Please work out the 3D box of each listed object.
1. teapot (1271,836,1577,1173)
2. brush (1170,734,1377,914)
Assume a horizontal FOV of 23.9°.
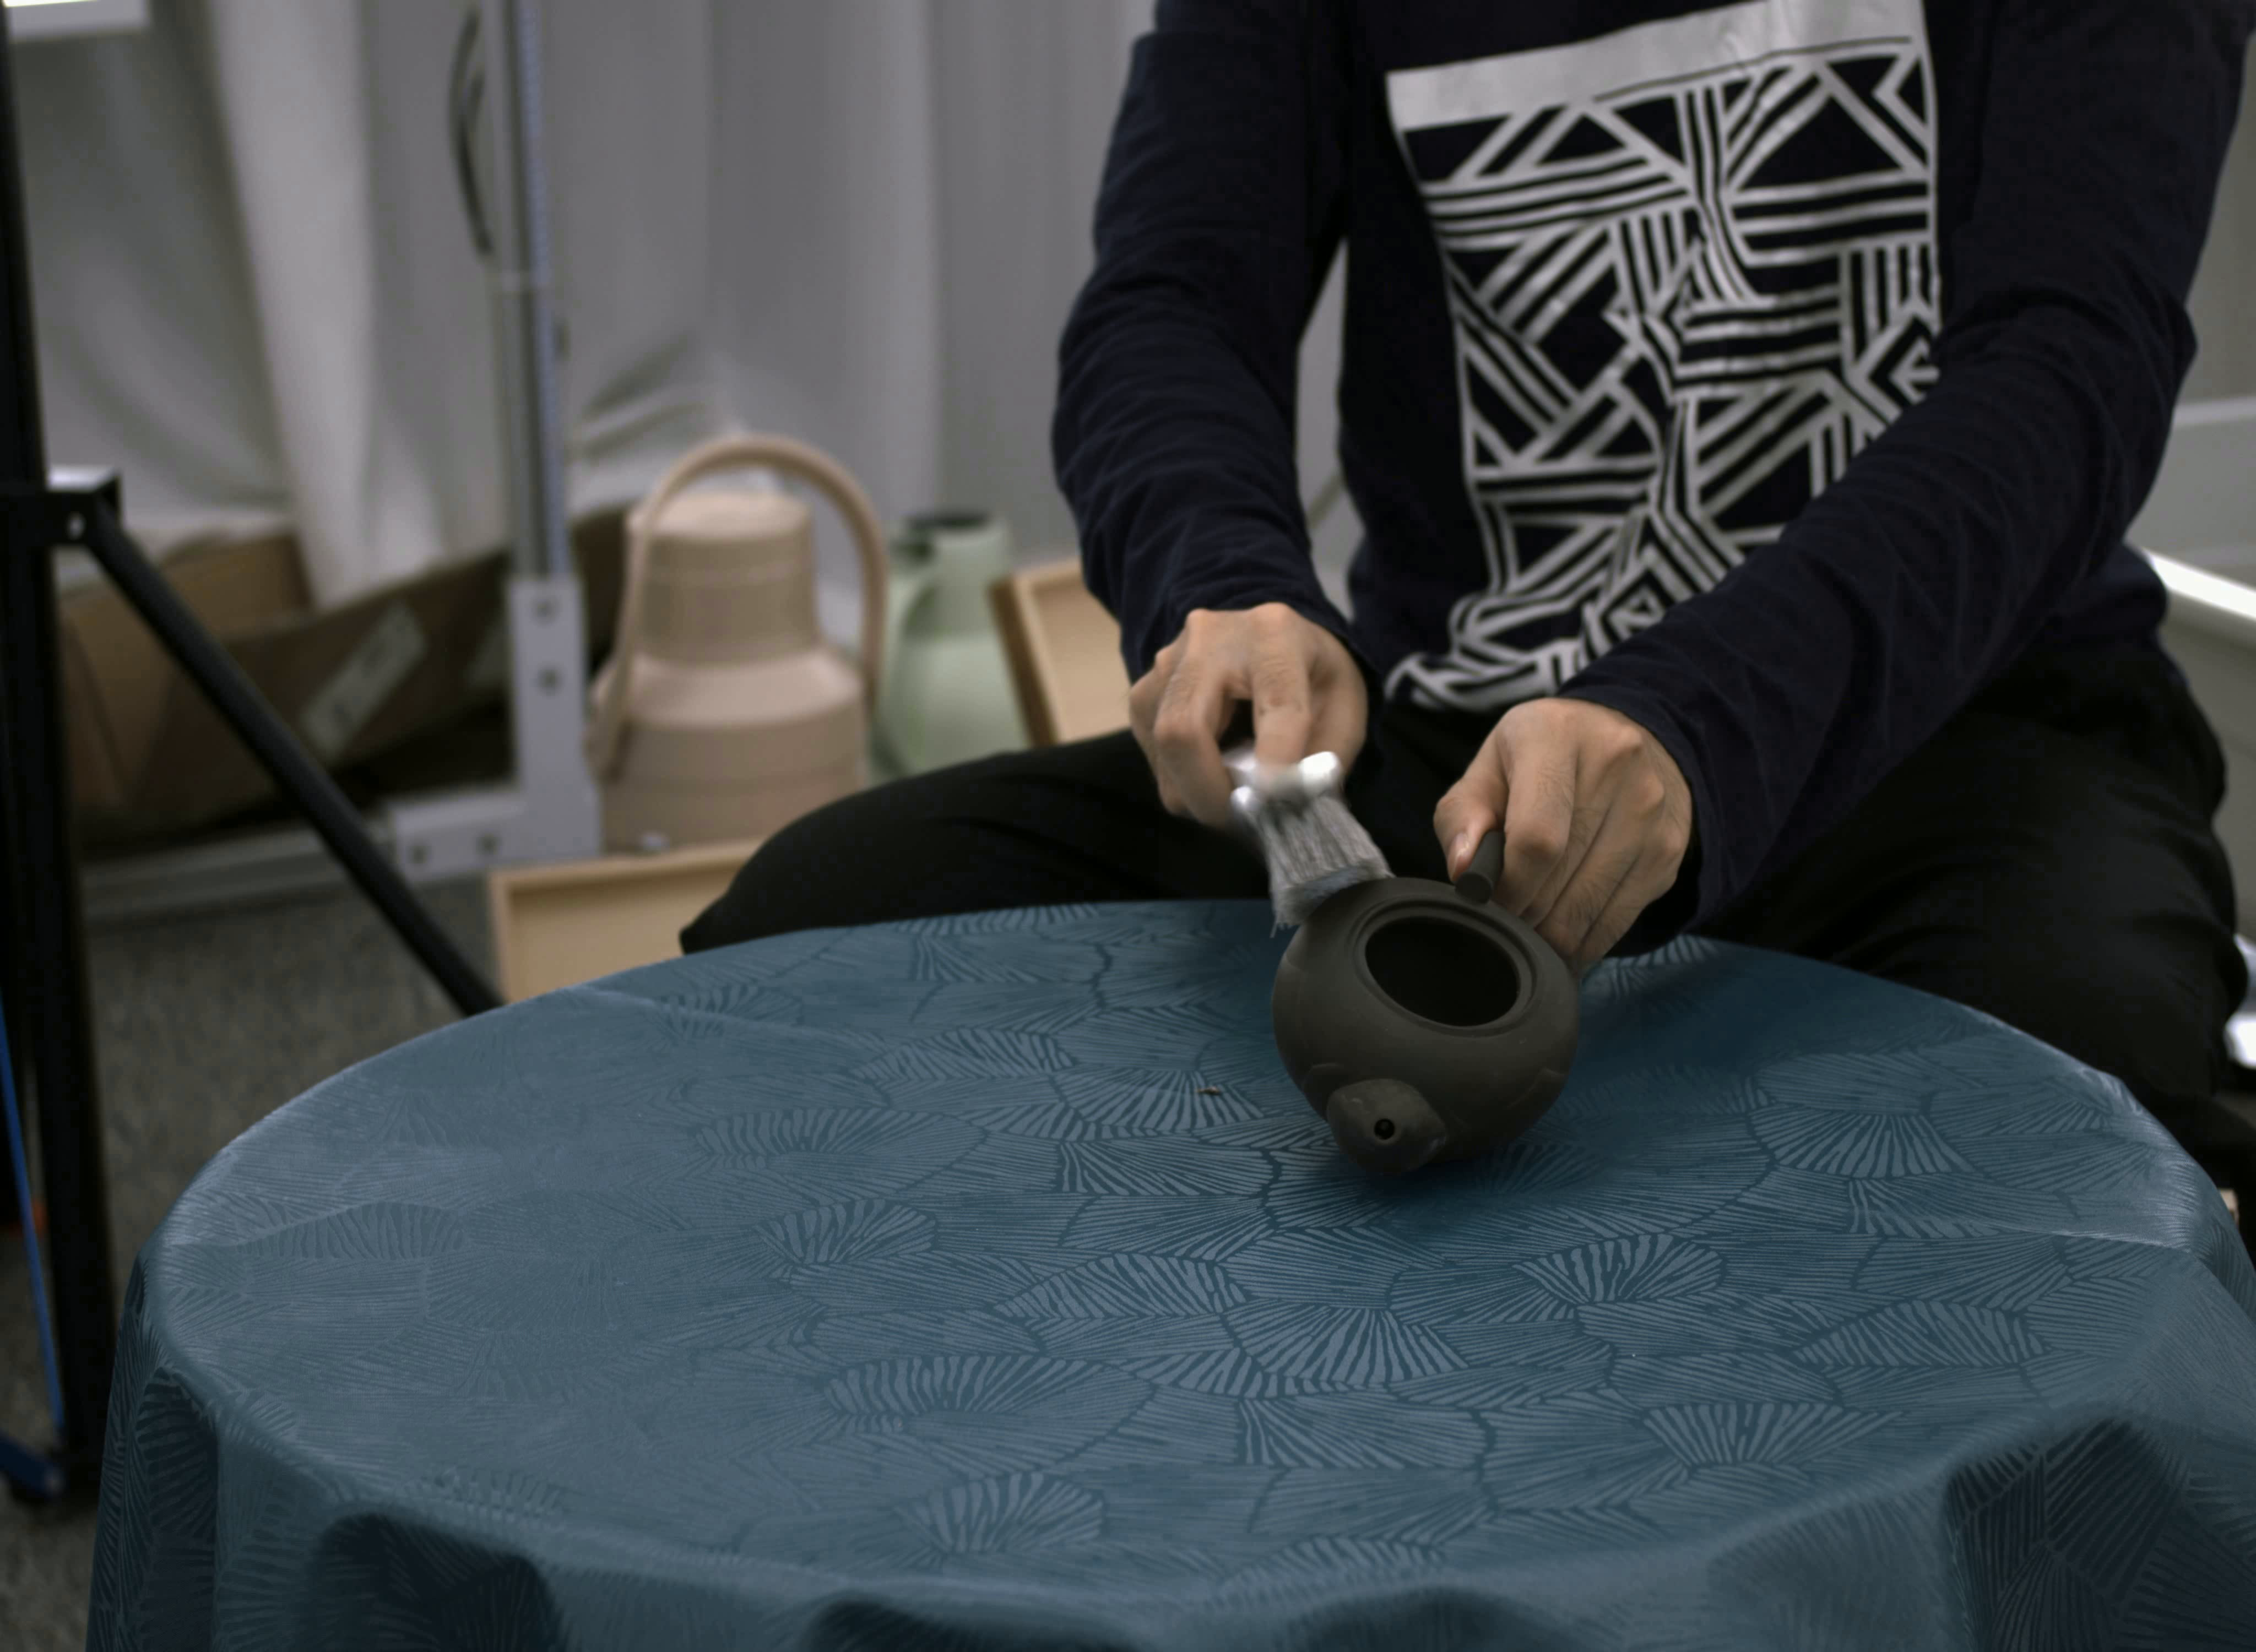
[{"bbox_3d":[0.088,0.057,1.582,0.092,0.064,0.154,22,41,6],"label":"teapot"},{"bbox_3d":[0.044,-0.002,1.675,0.034,0.050,0.244,-29,4,-3],"label":"brush"}]
